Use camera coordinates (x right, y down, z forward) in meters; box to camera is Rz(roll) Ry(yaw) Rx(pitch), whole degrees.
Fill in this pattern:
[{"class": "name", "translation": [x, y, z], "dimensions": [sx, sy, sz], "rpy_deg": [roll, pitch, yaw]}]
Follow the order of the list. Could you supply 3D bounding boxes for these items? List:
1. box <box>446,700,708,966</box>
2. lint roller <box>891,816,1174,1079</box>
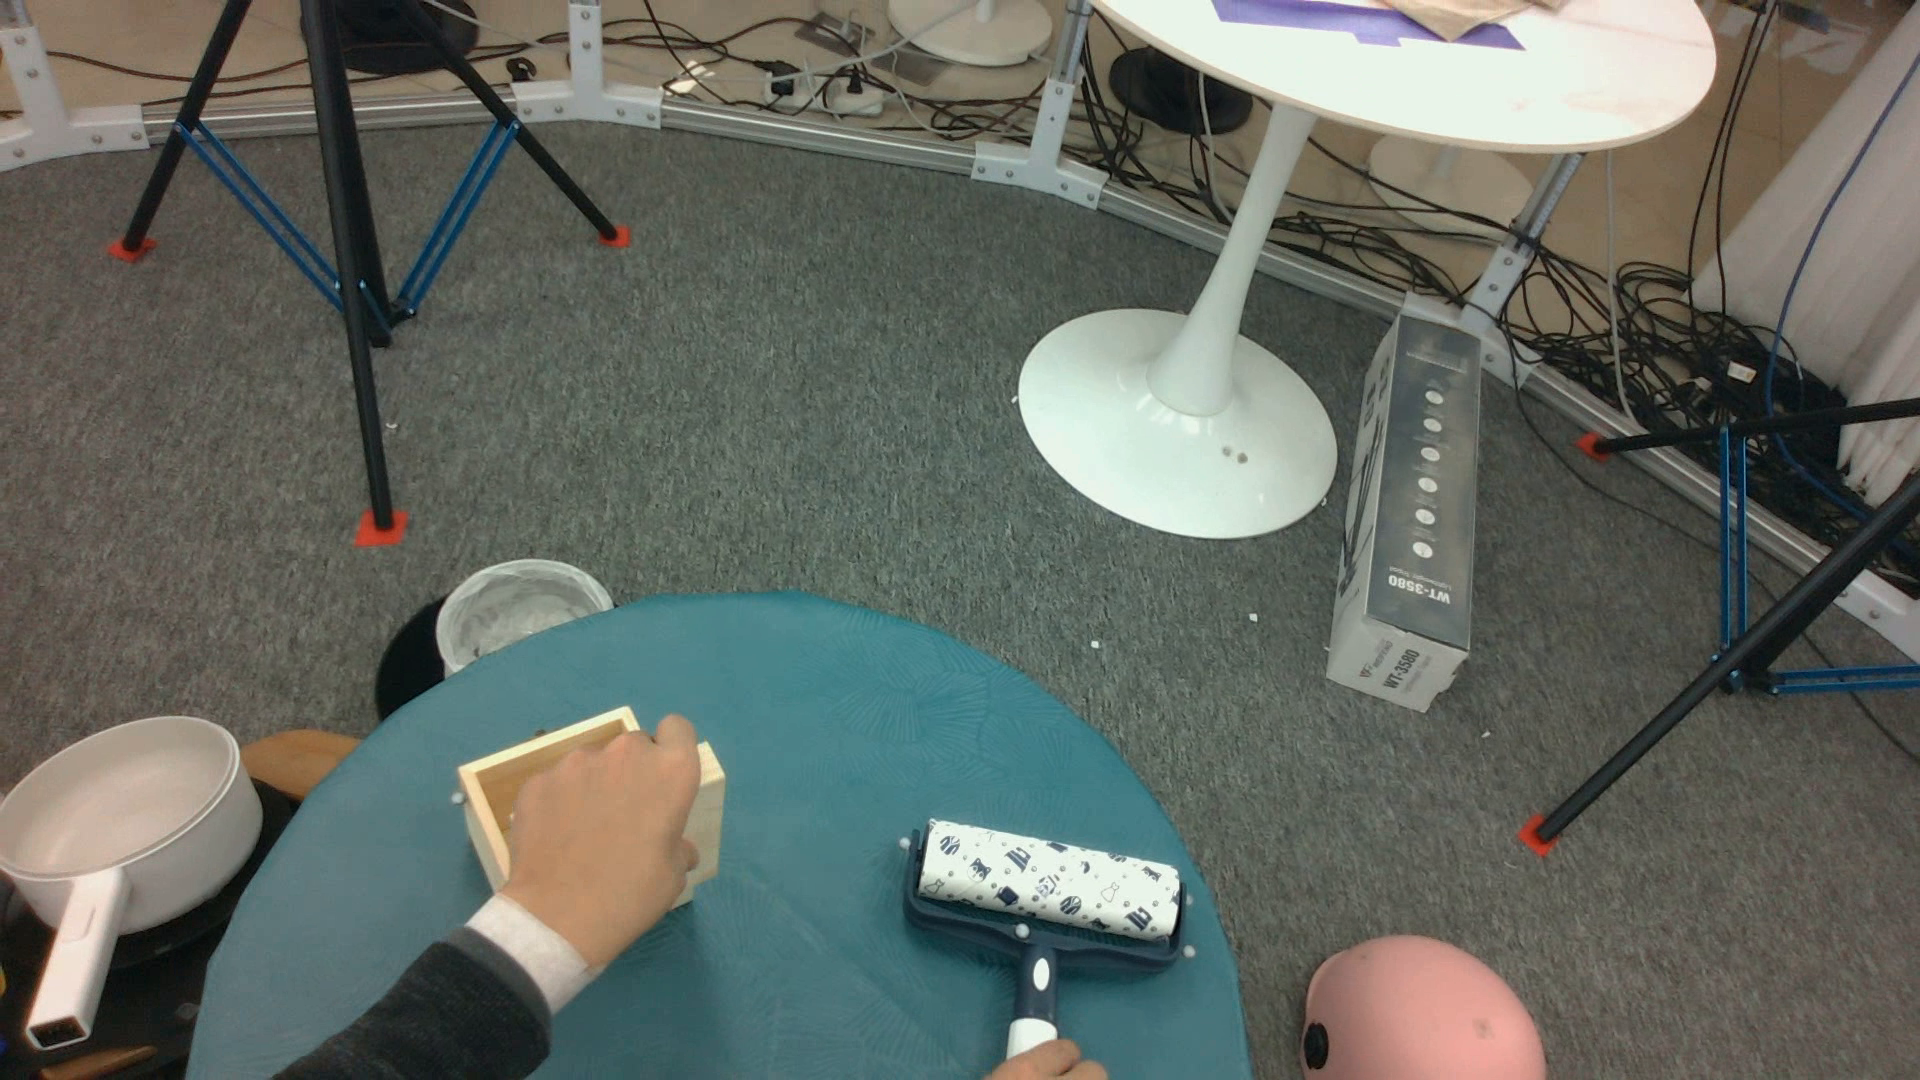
[{"class": "box", "translation": [-0.216, 0.144, 0.763], "dimensions": [0.103, 0.183, 0.134], "rpy_deg": [-21, 58, -28]}, {"class": "lint roller", "translation": [0.038, 0.284, 0.794], "dimensions": [0.176, 0.050, 0.248], "rpy_deg": [12, 48, -5]}]
